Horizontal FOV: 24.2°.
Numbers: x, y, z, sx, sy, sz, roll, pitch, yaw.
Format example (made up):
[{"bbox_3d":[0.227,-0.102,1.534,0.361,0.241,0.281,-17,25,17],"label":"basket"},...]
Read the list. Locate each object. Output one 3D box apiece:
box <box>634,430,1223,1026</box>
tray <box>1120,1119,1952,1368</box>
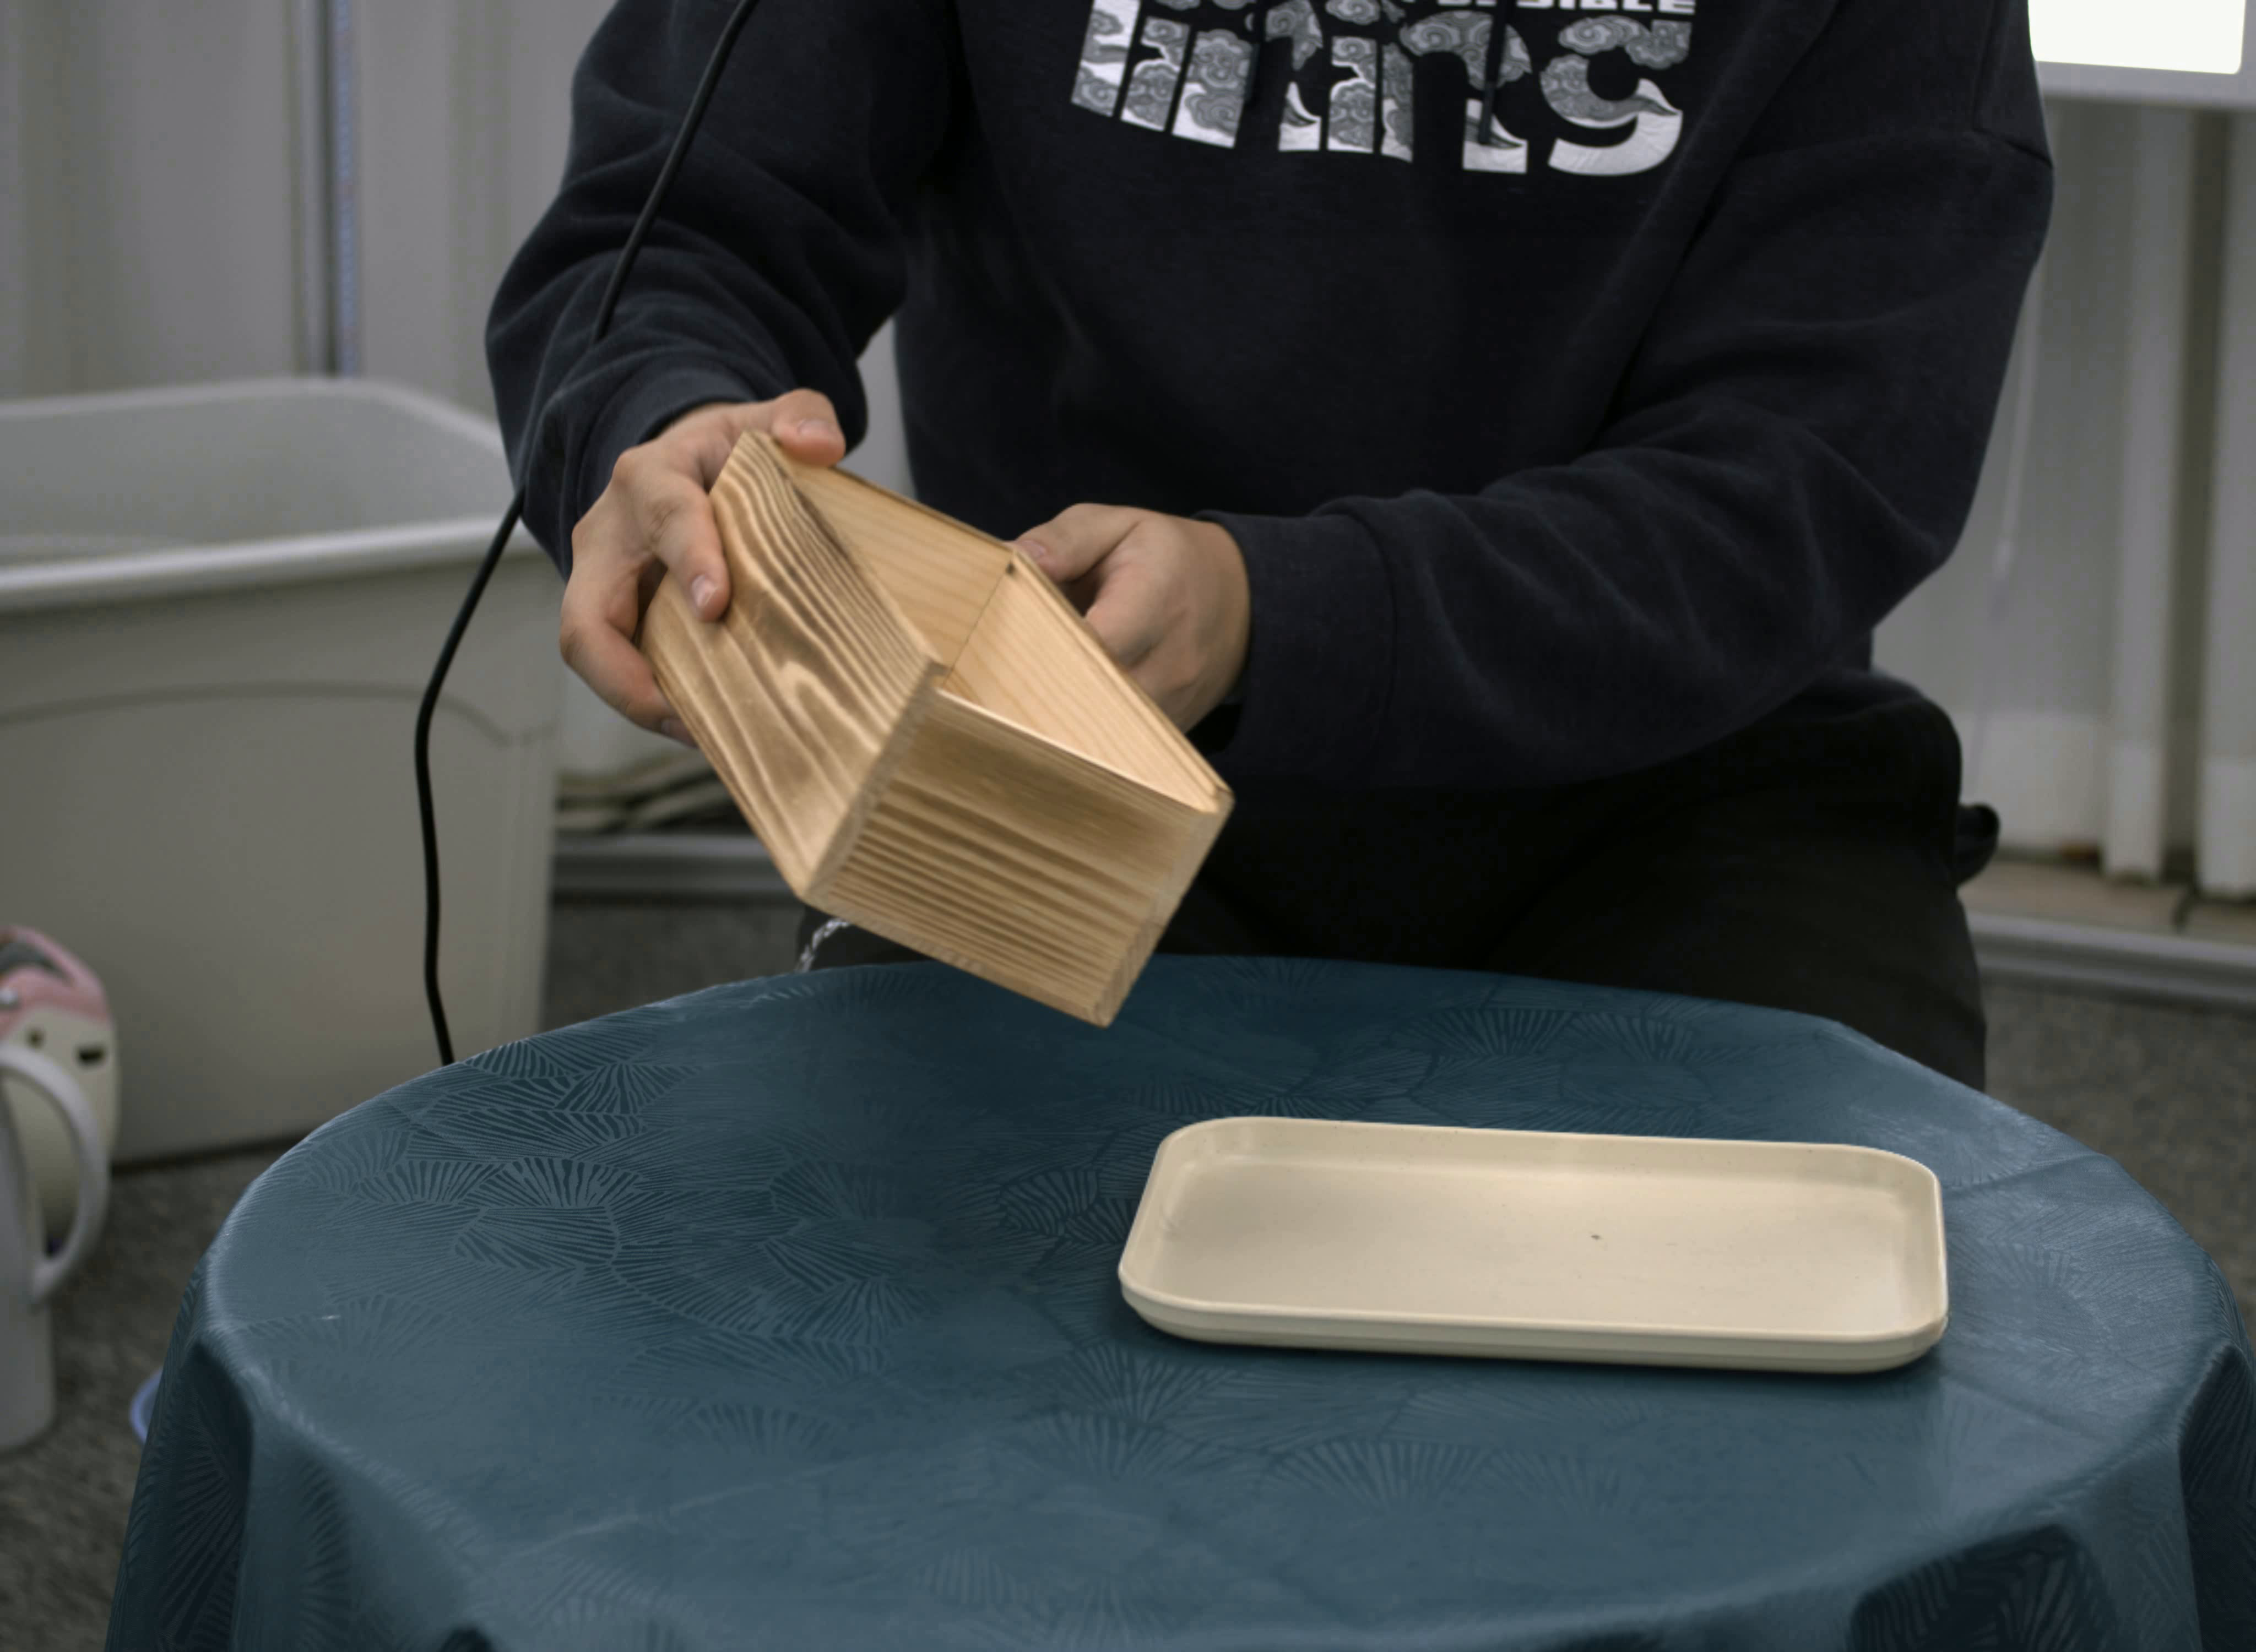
[{"bbox_3d":[-0.064,-0.033,1.572,0.108,0.080,0.209,24,12,-26],"label":"box"},{"bbox_3d":[0.121,0.124,1.559,0.238,0.017,0.171,2,15,5],"label":"tray"}]
